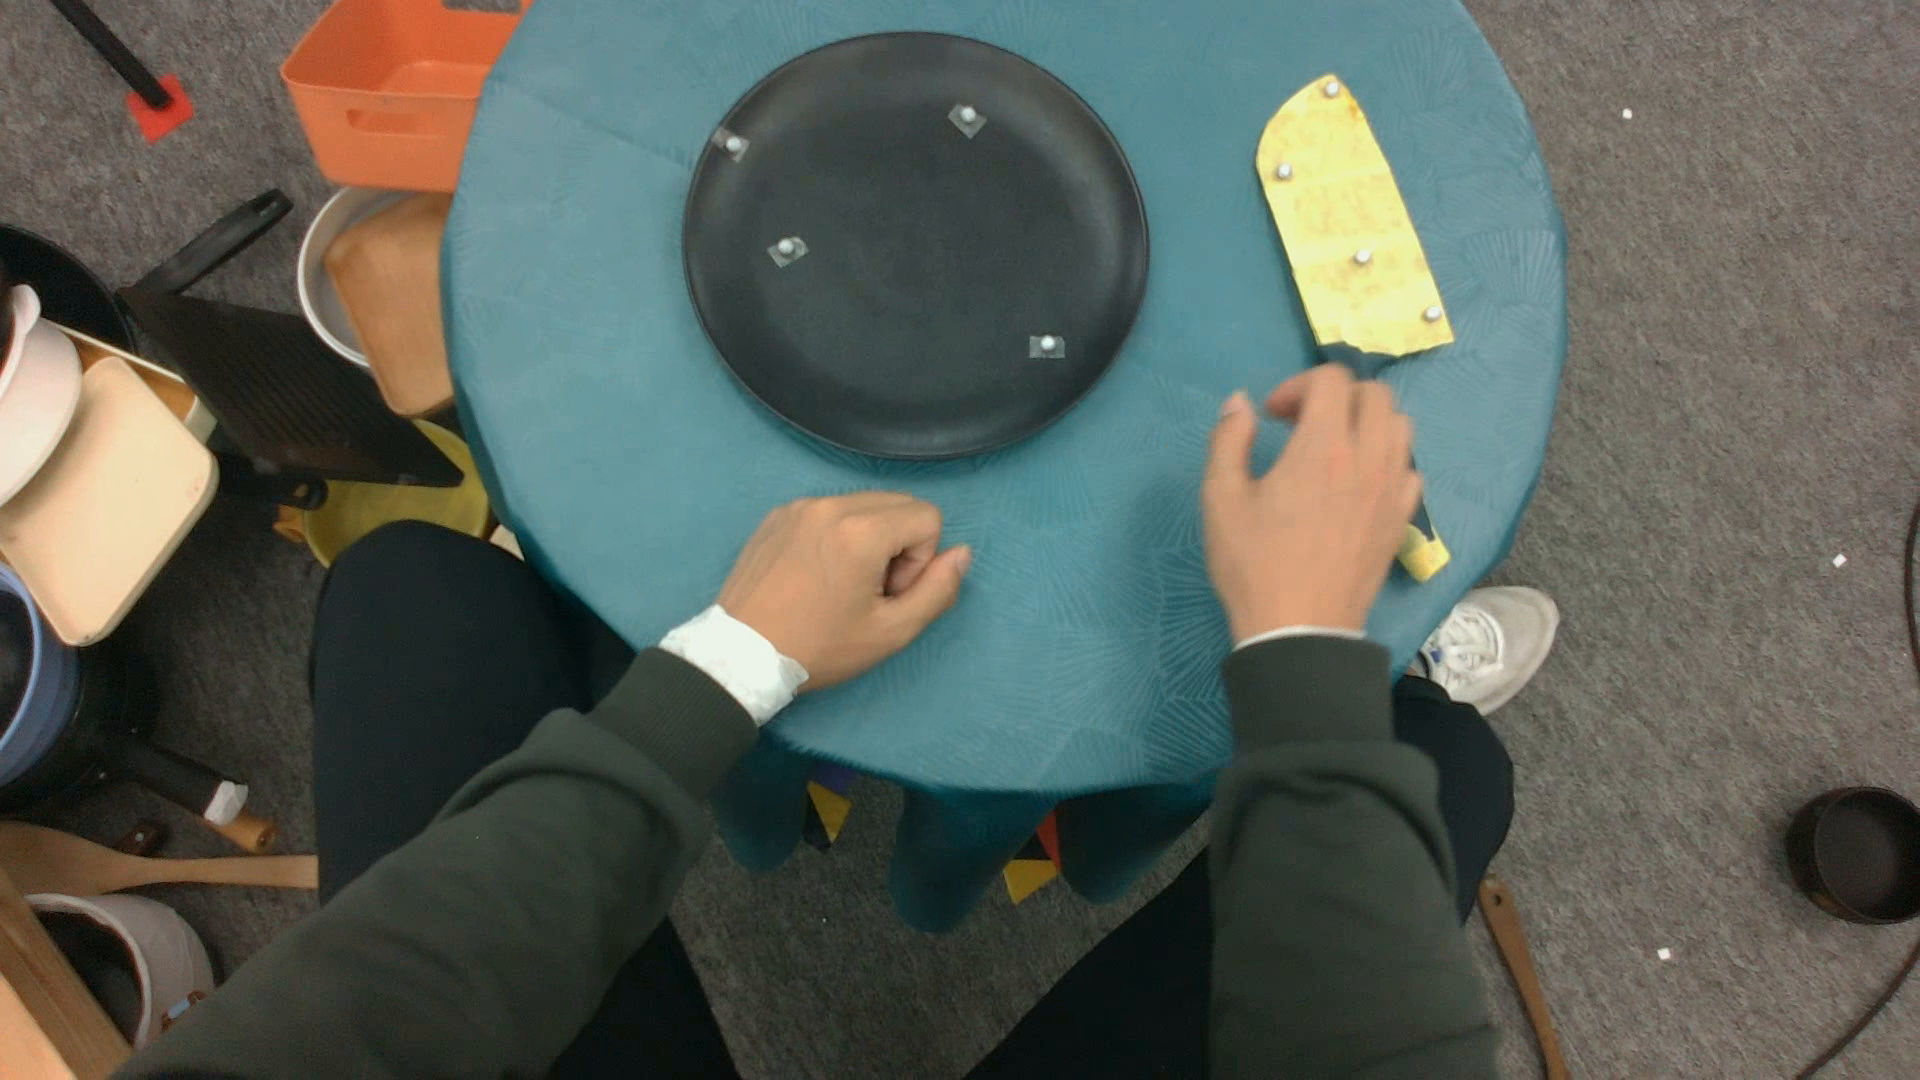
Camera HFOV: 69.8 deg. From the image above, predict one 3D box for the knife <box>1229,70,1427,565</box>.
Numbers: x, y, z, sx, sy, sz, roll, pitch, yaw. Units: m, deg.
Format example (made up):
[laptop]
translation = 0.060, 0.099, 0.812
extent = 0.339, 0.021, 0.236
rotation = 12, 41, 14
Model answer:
[knife]
translation = 0.208, -0.127, 0.739
extent = 0.081, 0.027, 0.290
rotation = -10, 76, -6

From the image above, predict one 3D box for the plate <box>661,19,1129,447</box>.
[plate]
translation = -0.033, -0.162, 0.724
extent = 0.244, 0.023, 0.245
rotation = 1, 75, -4
